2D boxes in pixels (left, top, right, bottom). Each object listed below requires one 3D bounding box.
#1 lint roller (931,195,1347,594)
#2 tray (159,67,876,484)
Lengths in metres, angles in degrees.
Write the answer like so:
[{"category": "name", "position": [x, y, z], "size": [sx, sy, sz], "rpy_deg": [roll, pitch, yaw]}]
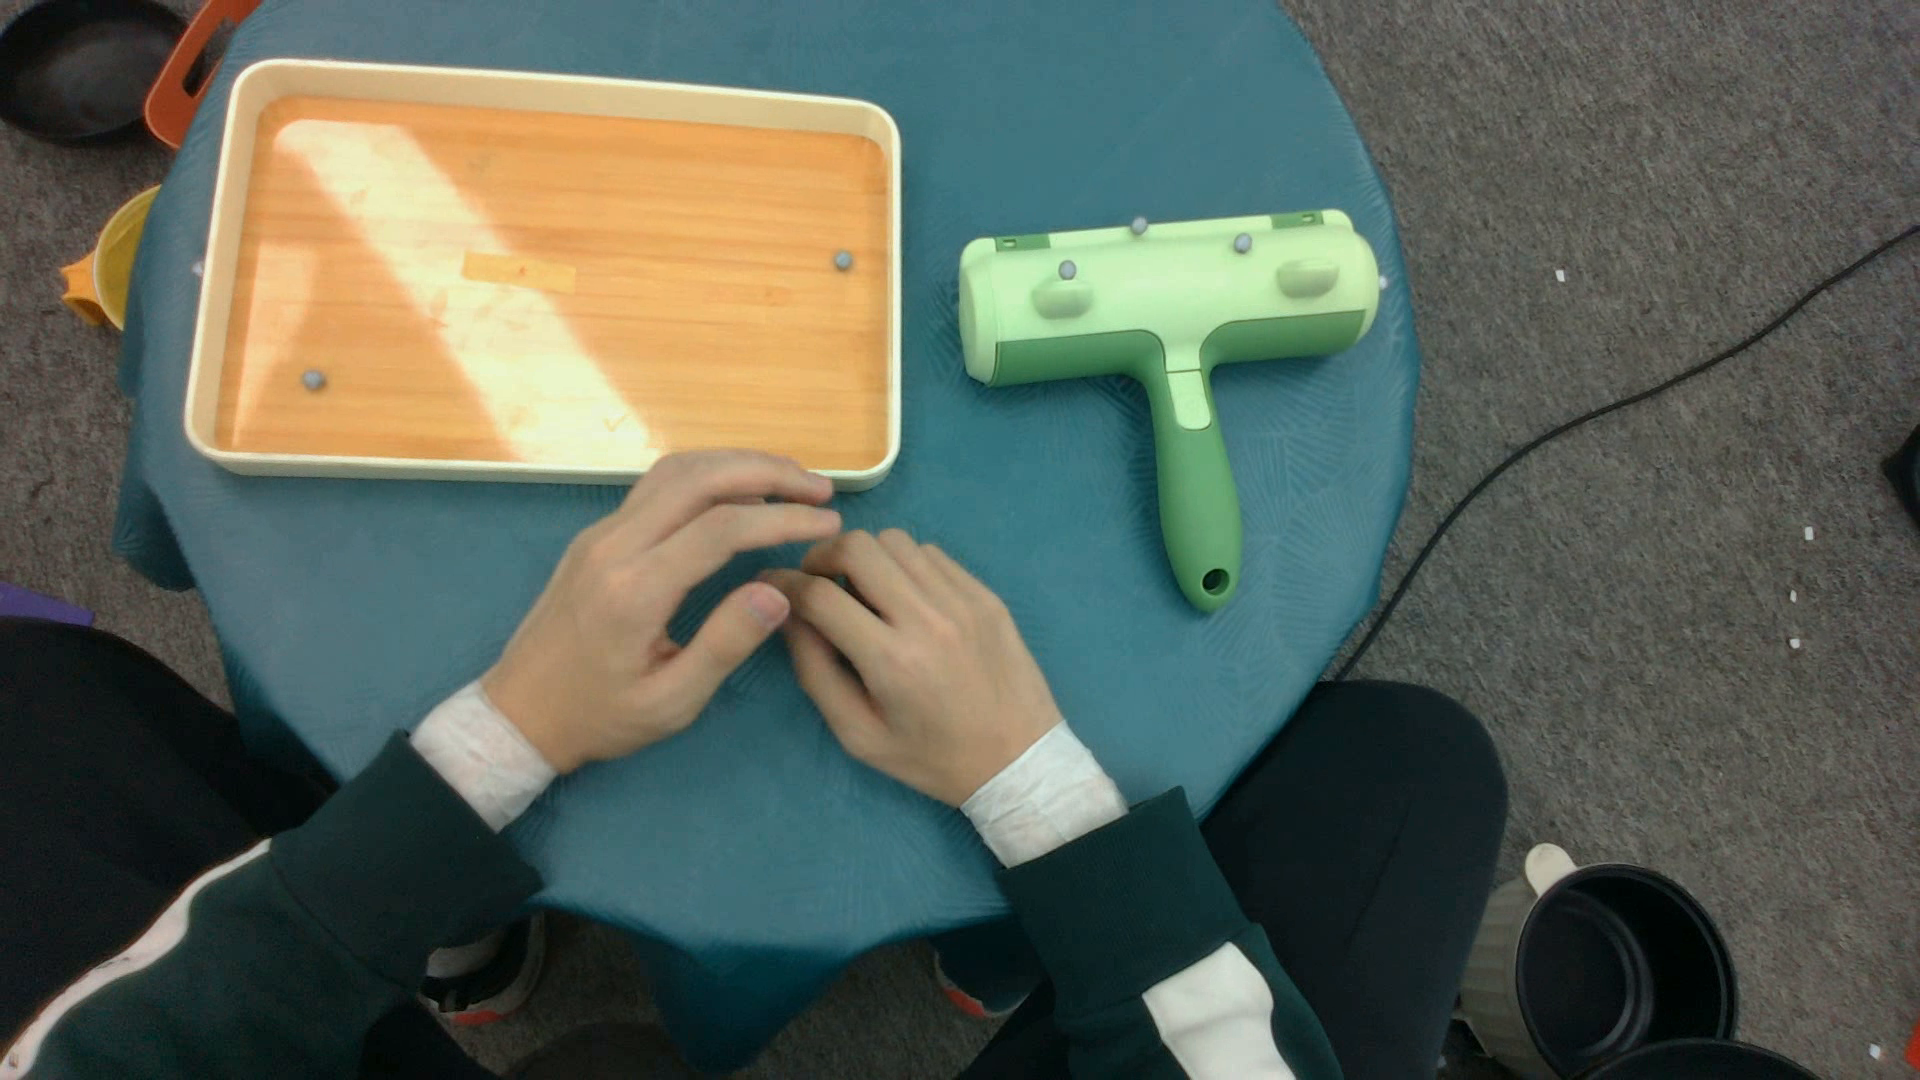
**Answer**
[{"category": "lint roller", "position": [0.096, -0.071, 0.633], "size": [0.199, 0.082, 0.184], "rpy_deg": [-8, 72, -11]}, {"category": "tray", "position": [-0.191, -0.119, 0.626], "size": [0.300, 0.027, 0.192], "rpy_deg": [0, 75, -9]}]
